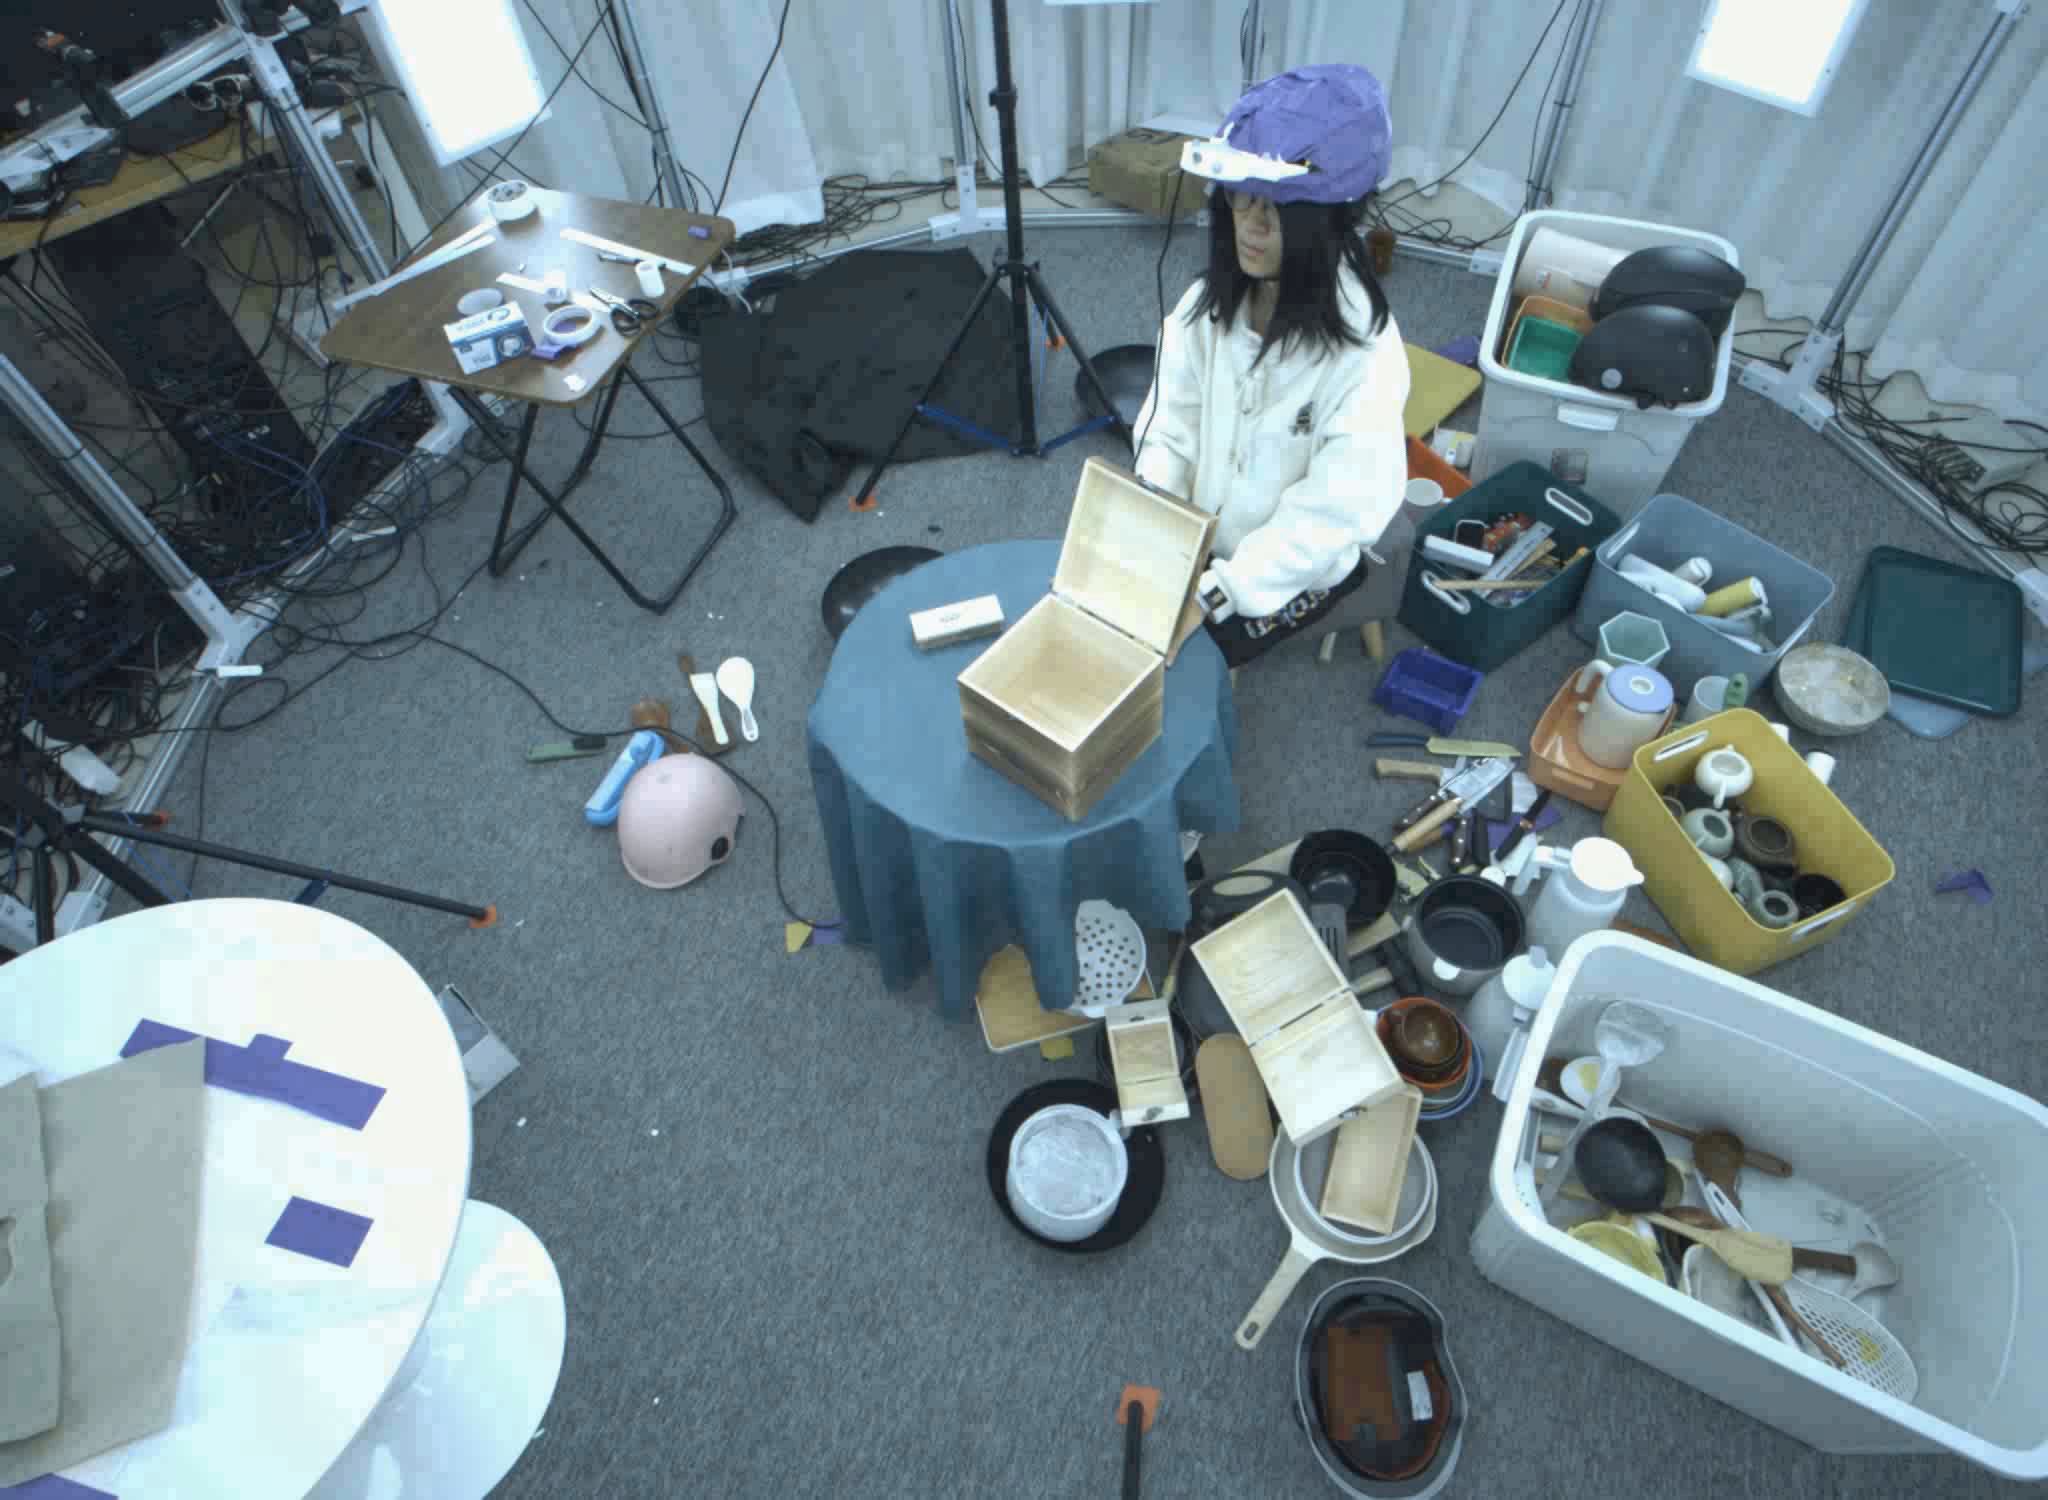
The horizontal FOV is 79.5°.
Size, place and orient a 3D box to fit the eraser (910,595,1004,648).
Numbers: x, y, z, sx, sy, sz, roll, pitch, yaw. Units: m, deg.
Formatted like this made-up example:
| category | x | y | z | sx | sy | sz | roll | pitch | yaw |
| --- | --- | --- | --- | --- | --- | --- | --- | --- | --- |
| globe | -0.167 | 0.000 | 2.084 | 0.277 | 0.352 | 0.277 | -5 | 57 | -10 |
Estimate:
| category | x | y | z | sx | sy | sz | roll | pitch | yaw |
| --- | --- | --- | --- | --- | --- | --- | --- | --- | --- |
| eraser | -0.105 | -0.201 | 1.915 | 0.140 | 0.029 | 0.056 | -13 | 53 | -8 |

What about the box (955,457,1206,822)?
| category | x | y | z | sx | sy | sz | roll | pitch | yaw |
| --- | --- | --- | --- | --- | --- | --- | --- | --- | --- |
| box | 0.078 | -0.152 | 1.668 | 0.205 | 0.380 | 0.324 | 32 | 62 | 24 |
